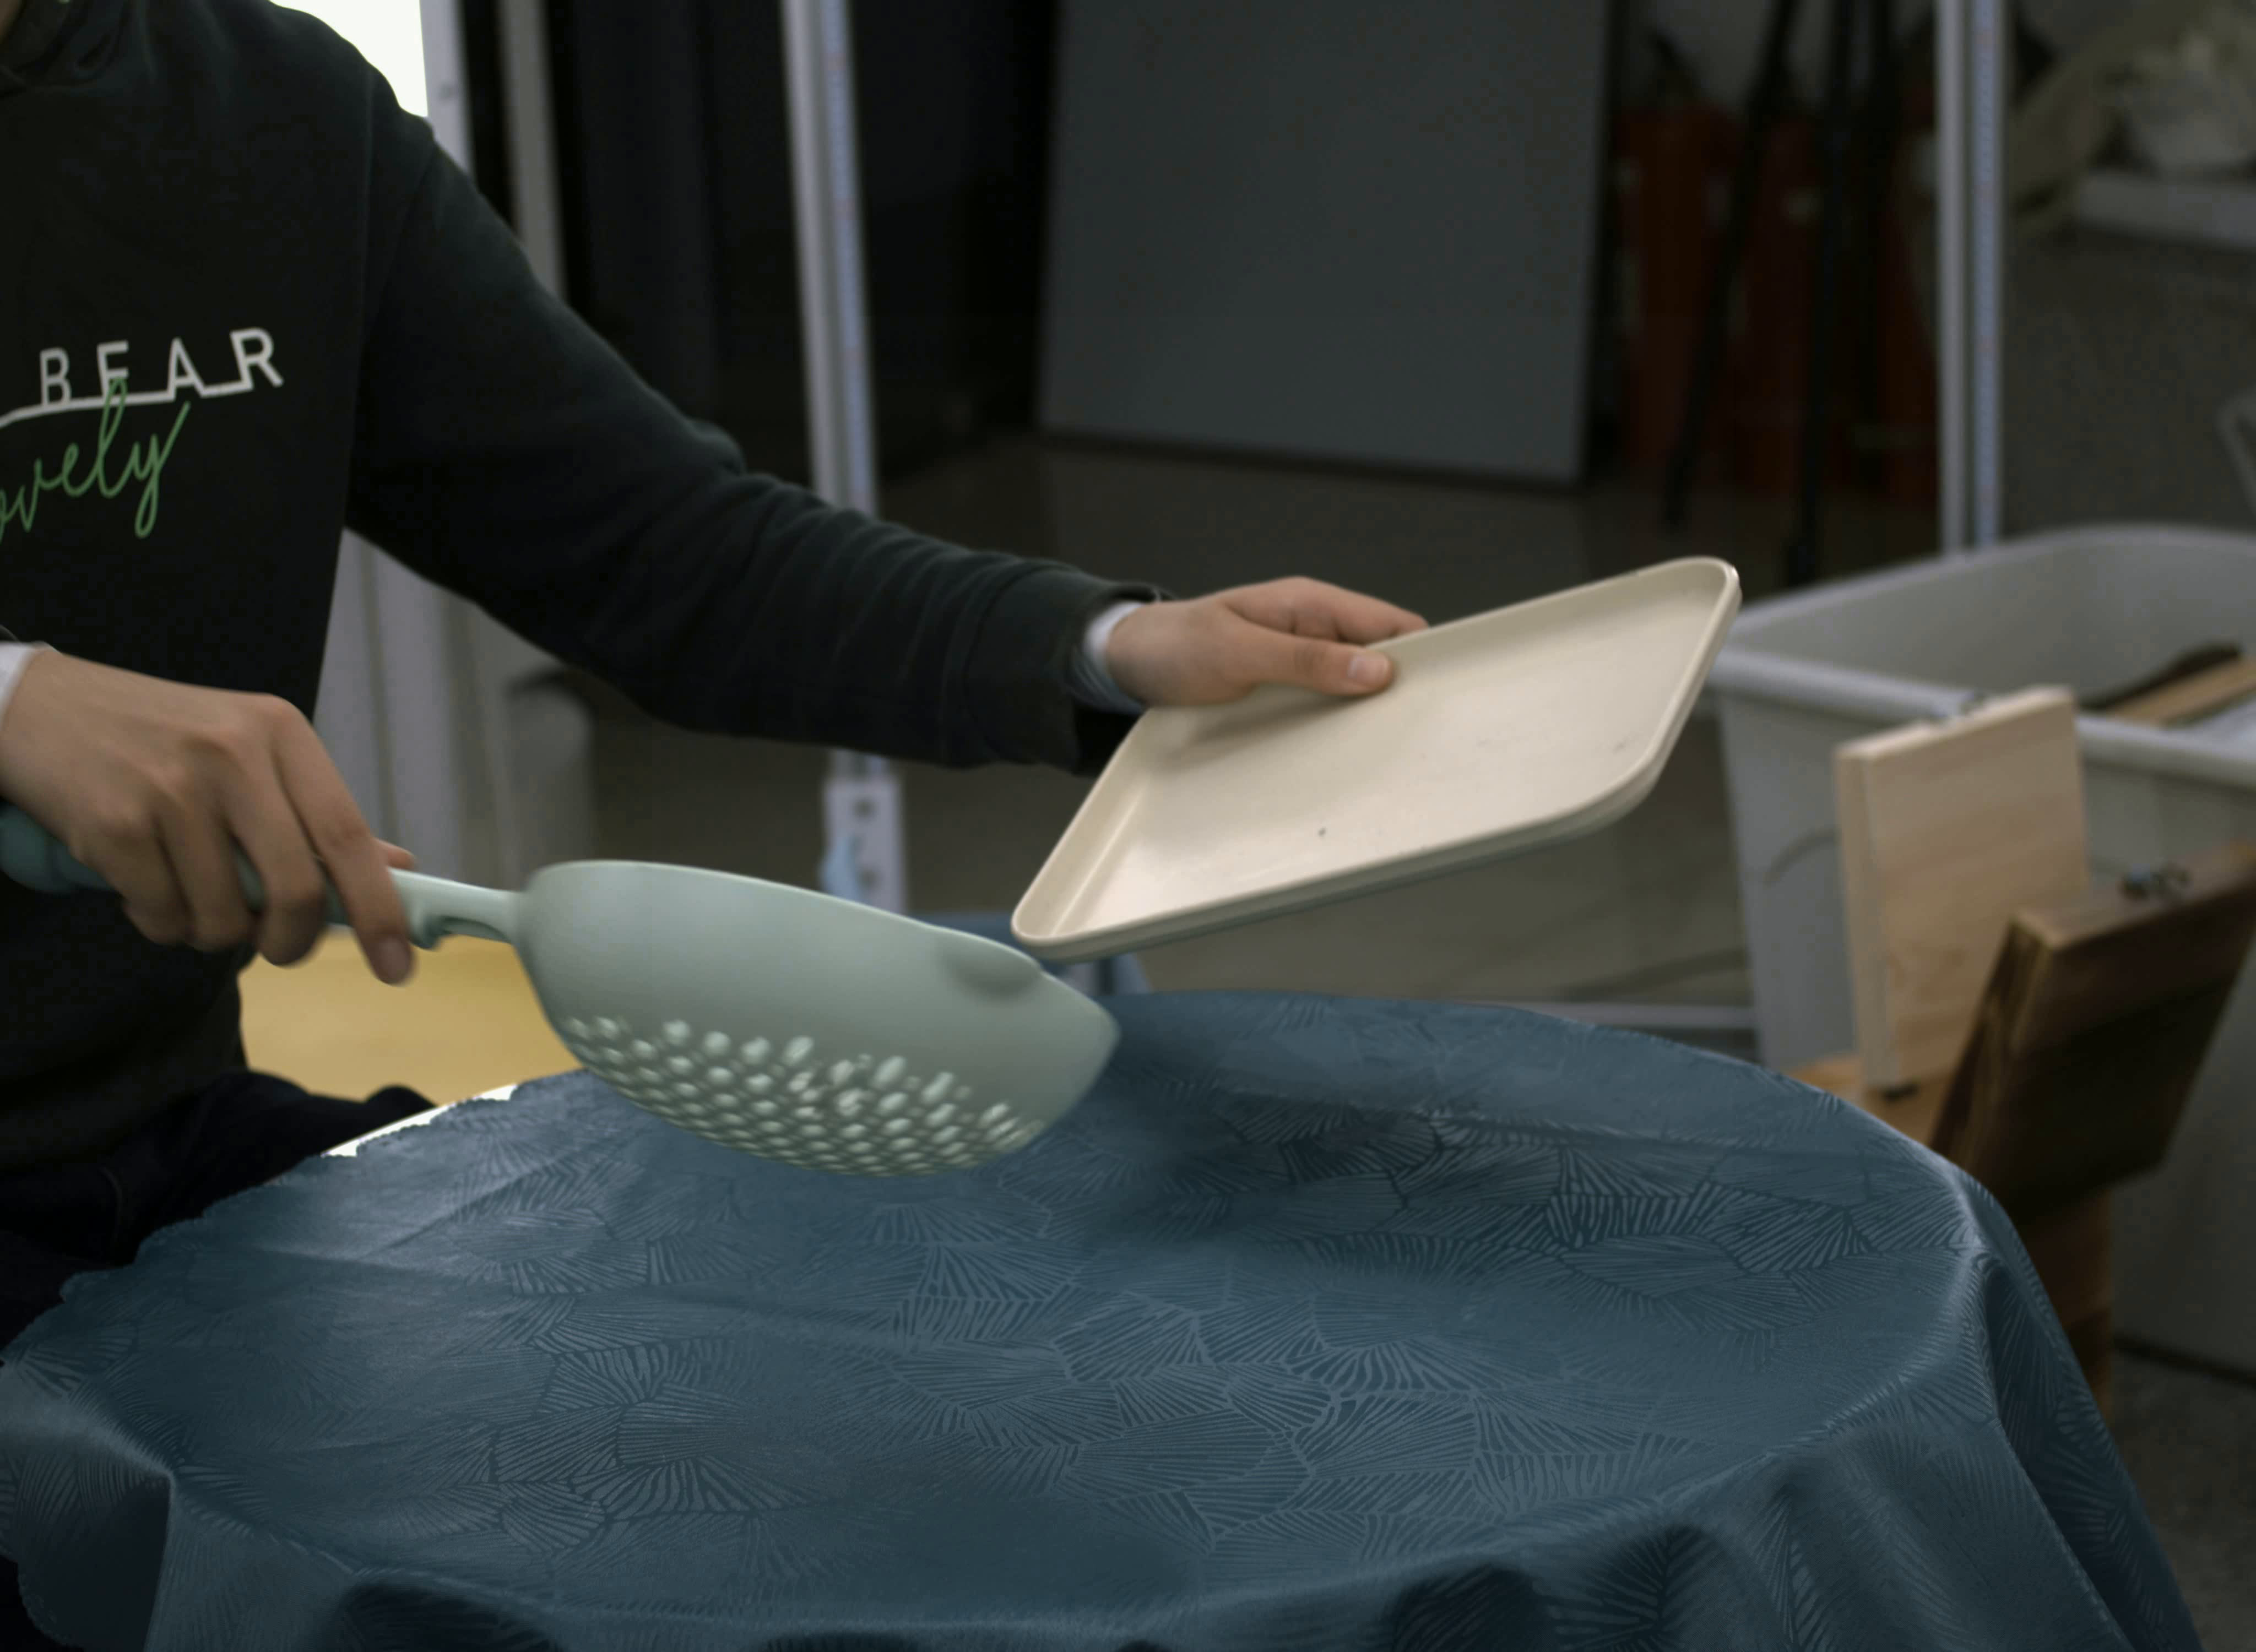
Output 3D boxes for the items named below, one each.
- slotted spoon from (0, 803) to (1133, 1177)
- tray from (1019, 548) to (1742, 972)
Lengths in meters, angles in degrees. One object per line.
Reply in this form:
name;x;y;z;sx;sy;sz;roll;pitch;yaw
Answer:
slotted spoon;-0.175;0.032;1.516;0.358;0.076;0.168;18;-14;17
tray;0.084;-0.019;1.766;0.240;0.017;0.170;-17;23;30
